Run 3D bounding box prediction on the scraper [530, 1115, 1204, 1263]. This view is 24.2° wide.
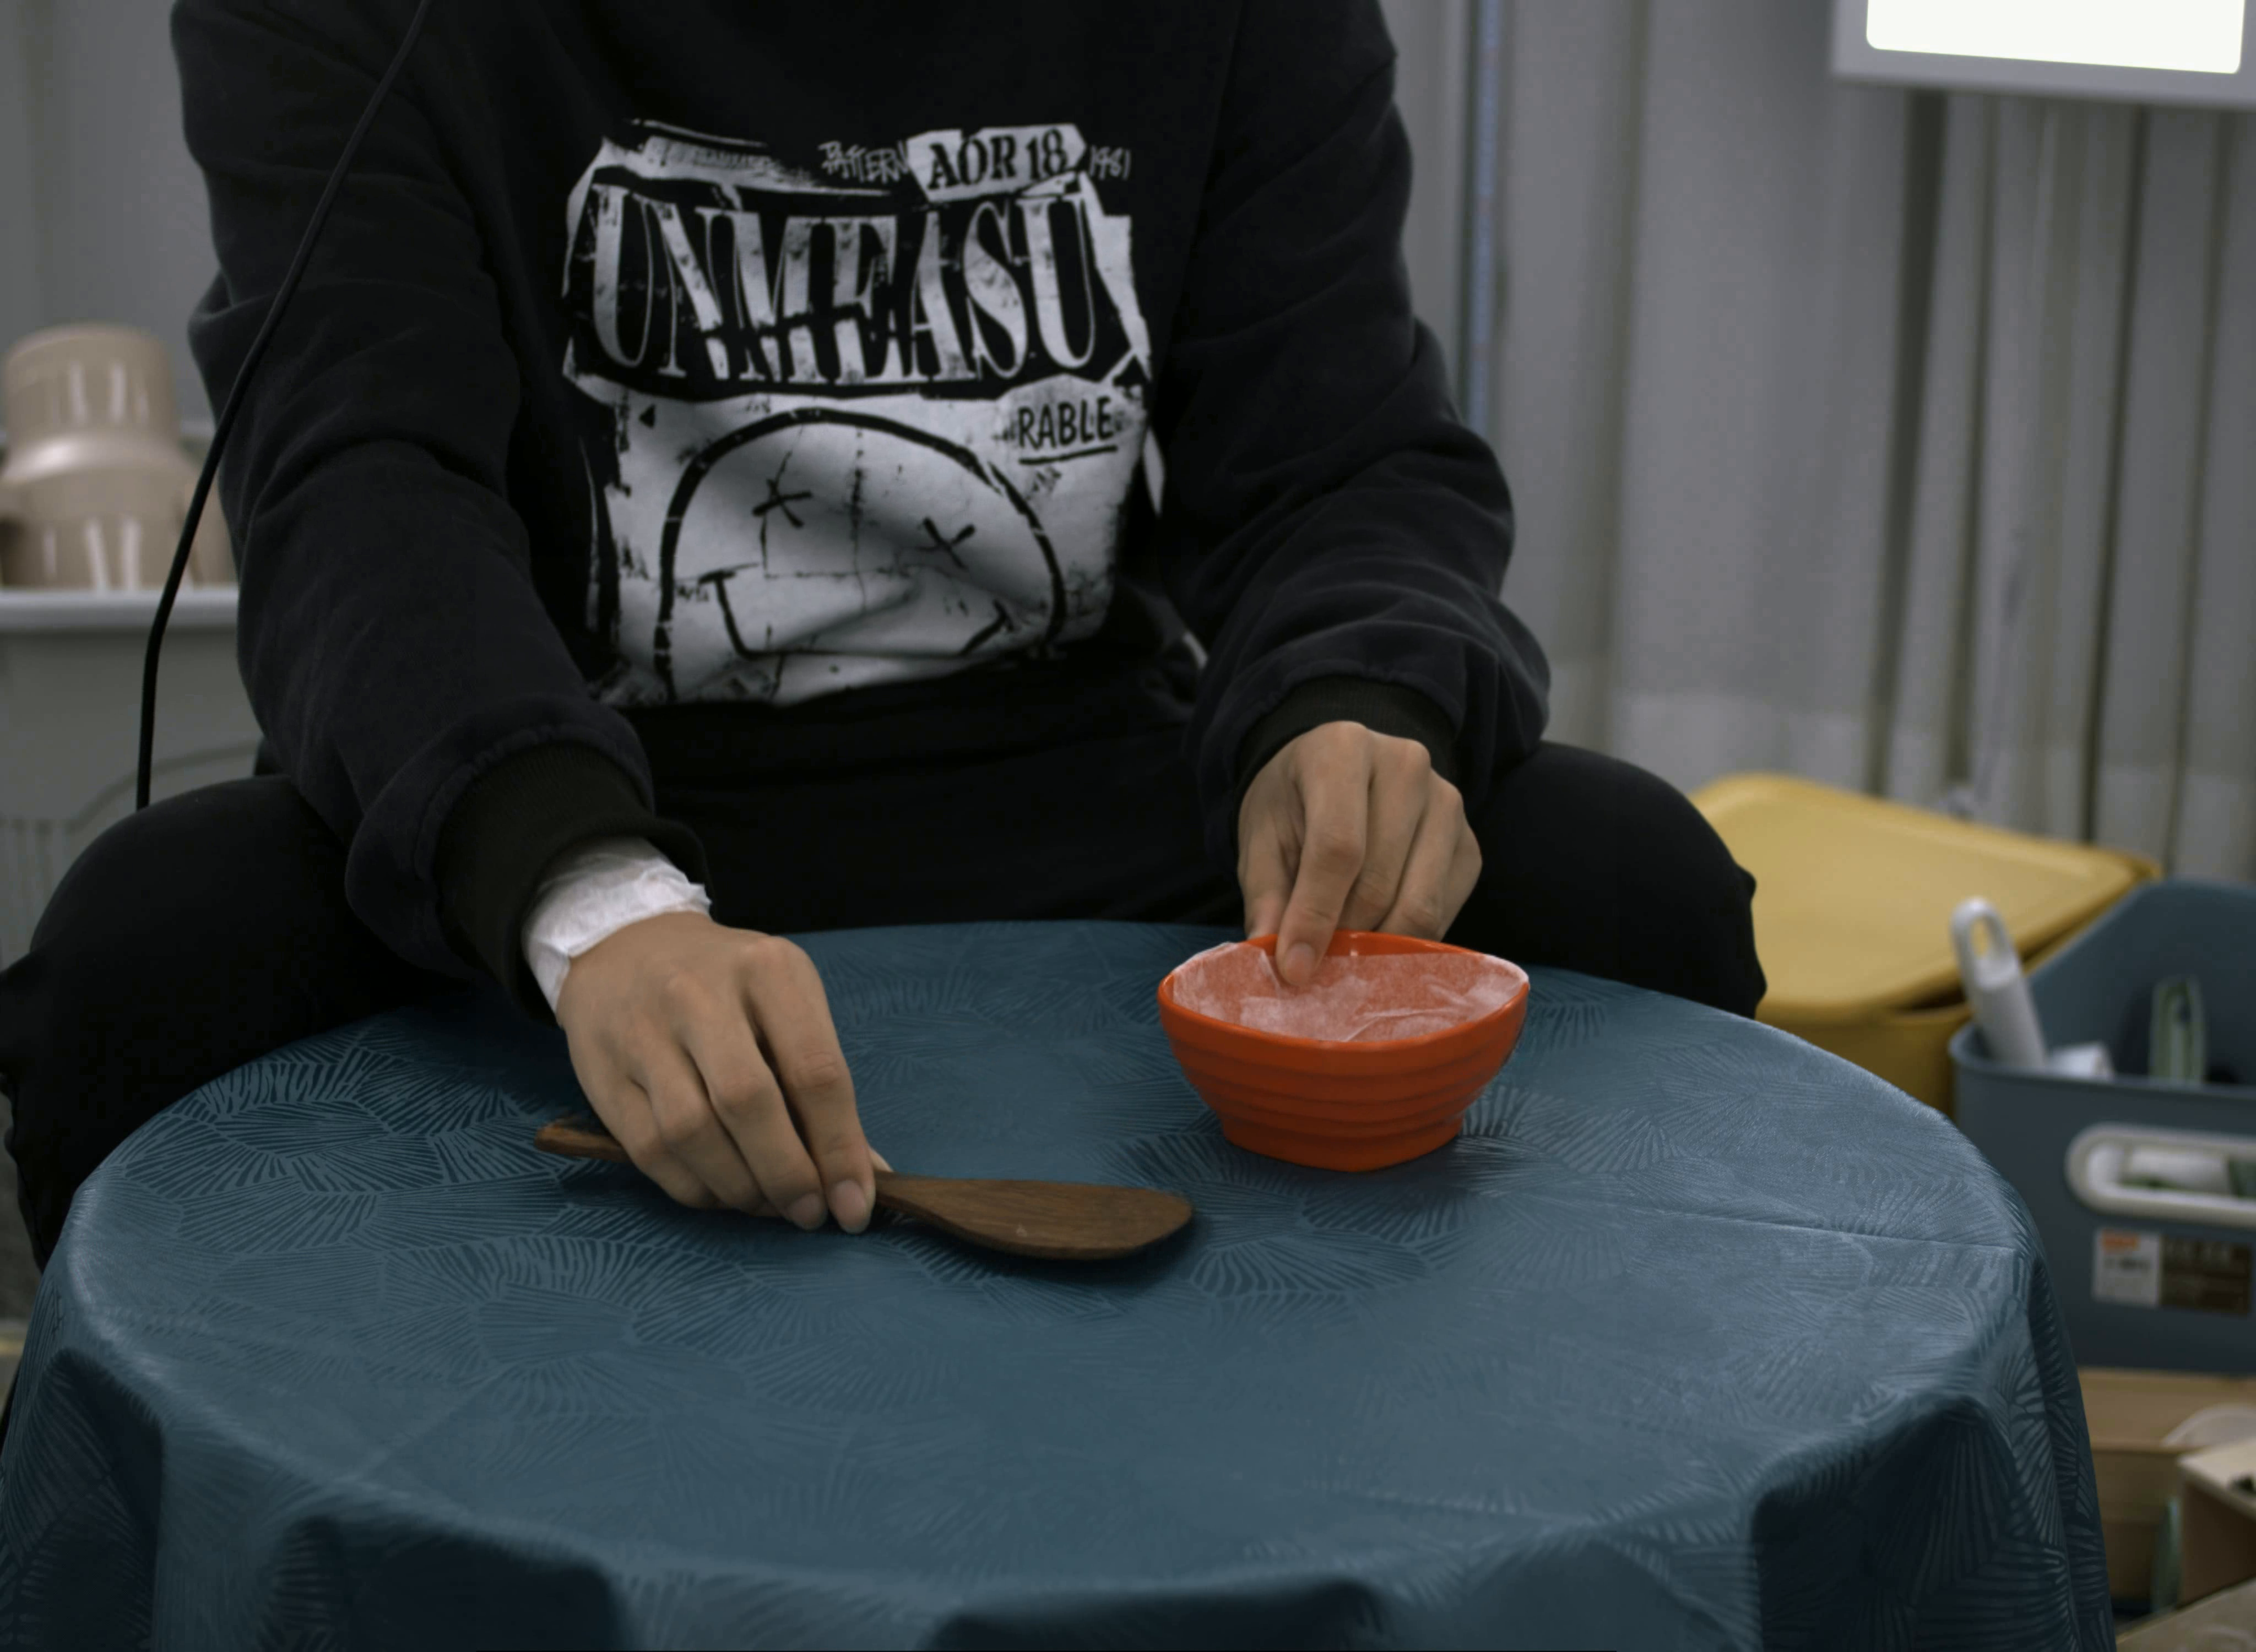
[{"bbox_3d":[-0.082,0.108,1.599,0.209,0.011,0.076,9,12,16],"label":"scraper"}]

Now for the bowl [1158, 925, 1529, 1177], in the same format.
[{"bbox_3d":[0.068,0.074,1.673,0.118,0.052,0.118,0,19,0],"label":"bowl"}]
